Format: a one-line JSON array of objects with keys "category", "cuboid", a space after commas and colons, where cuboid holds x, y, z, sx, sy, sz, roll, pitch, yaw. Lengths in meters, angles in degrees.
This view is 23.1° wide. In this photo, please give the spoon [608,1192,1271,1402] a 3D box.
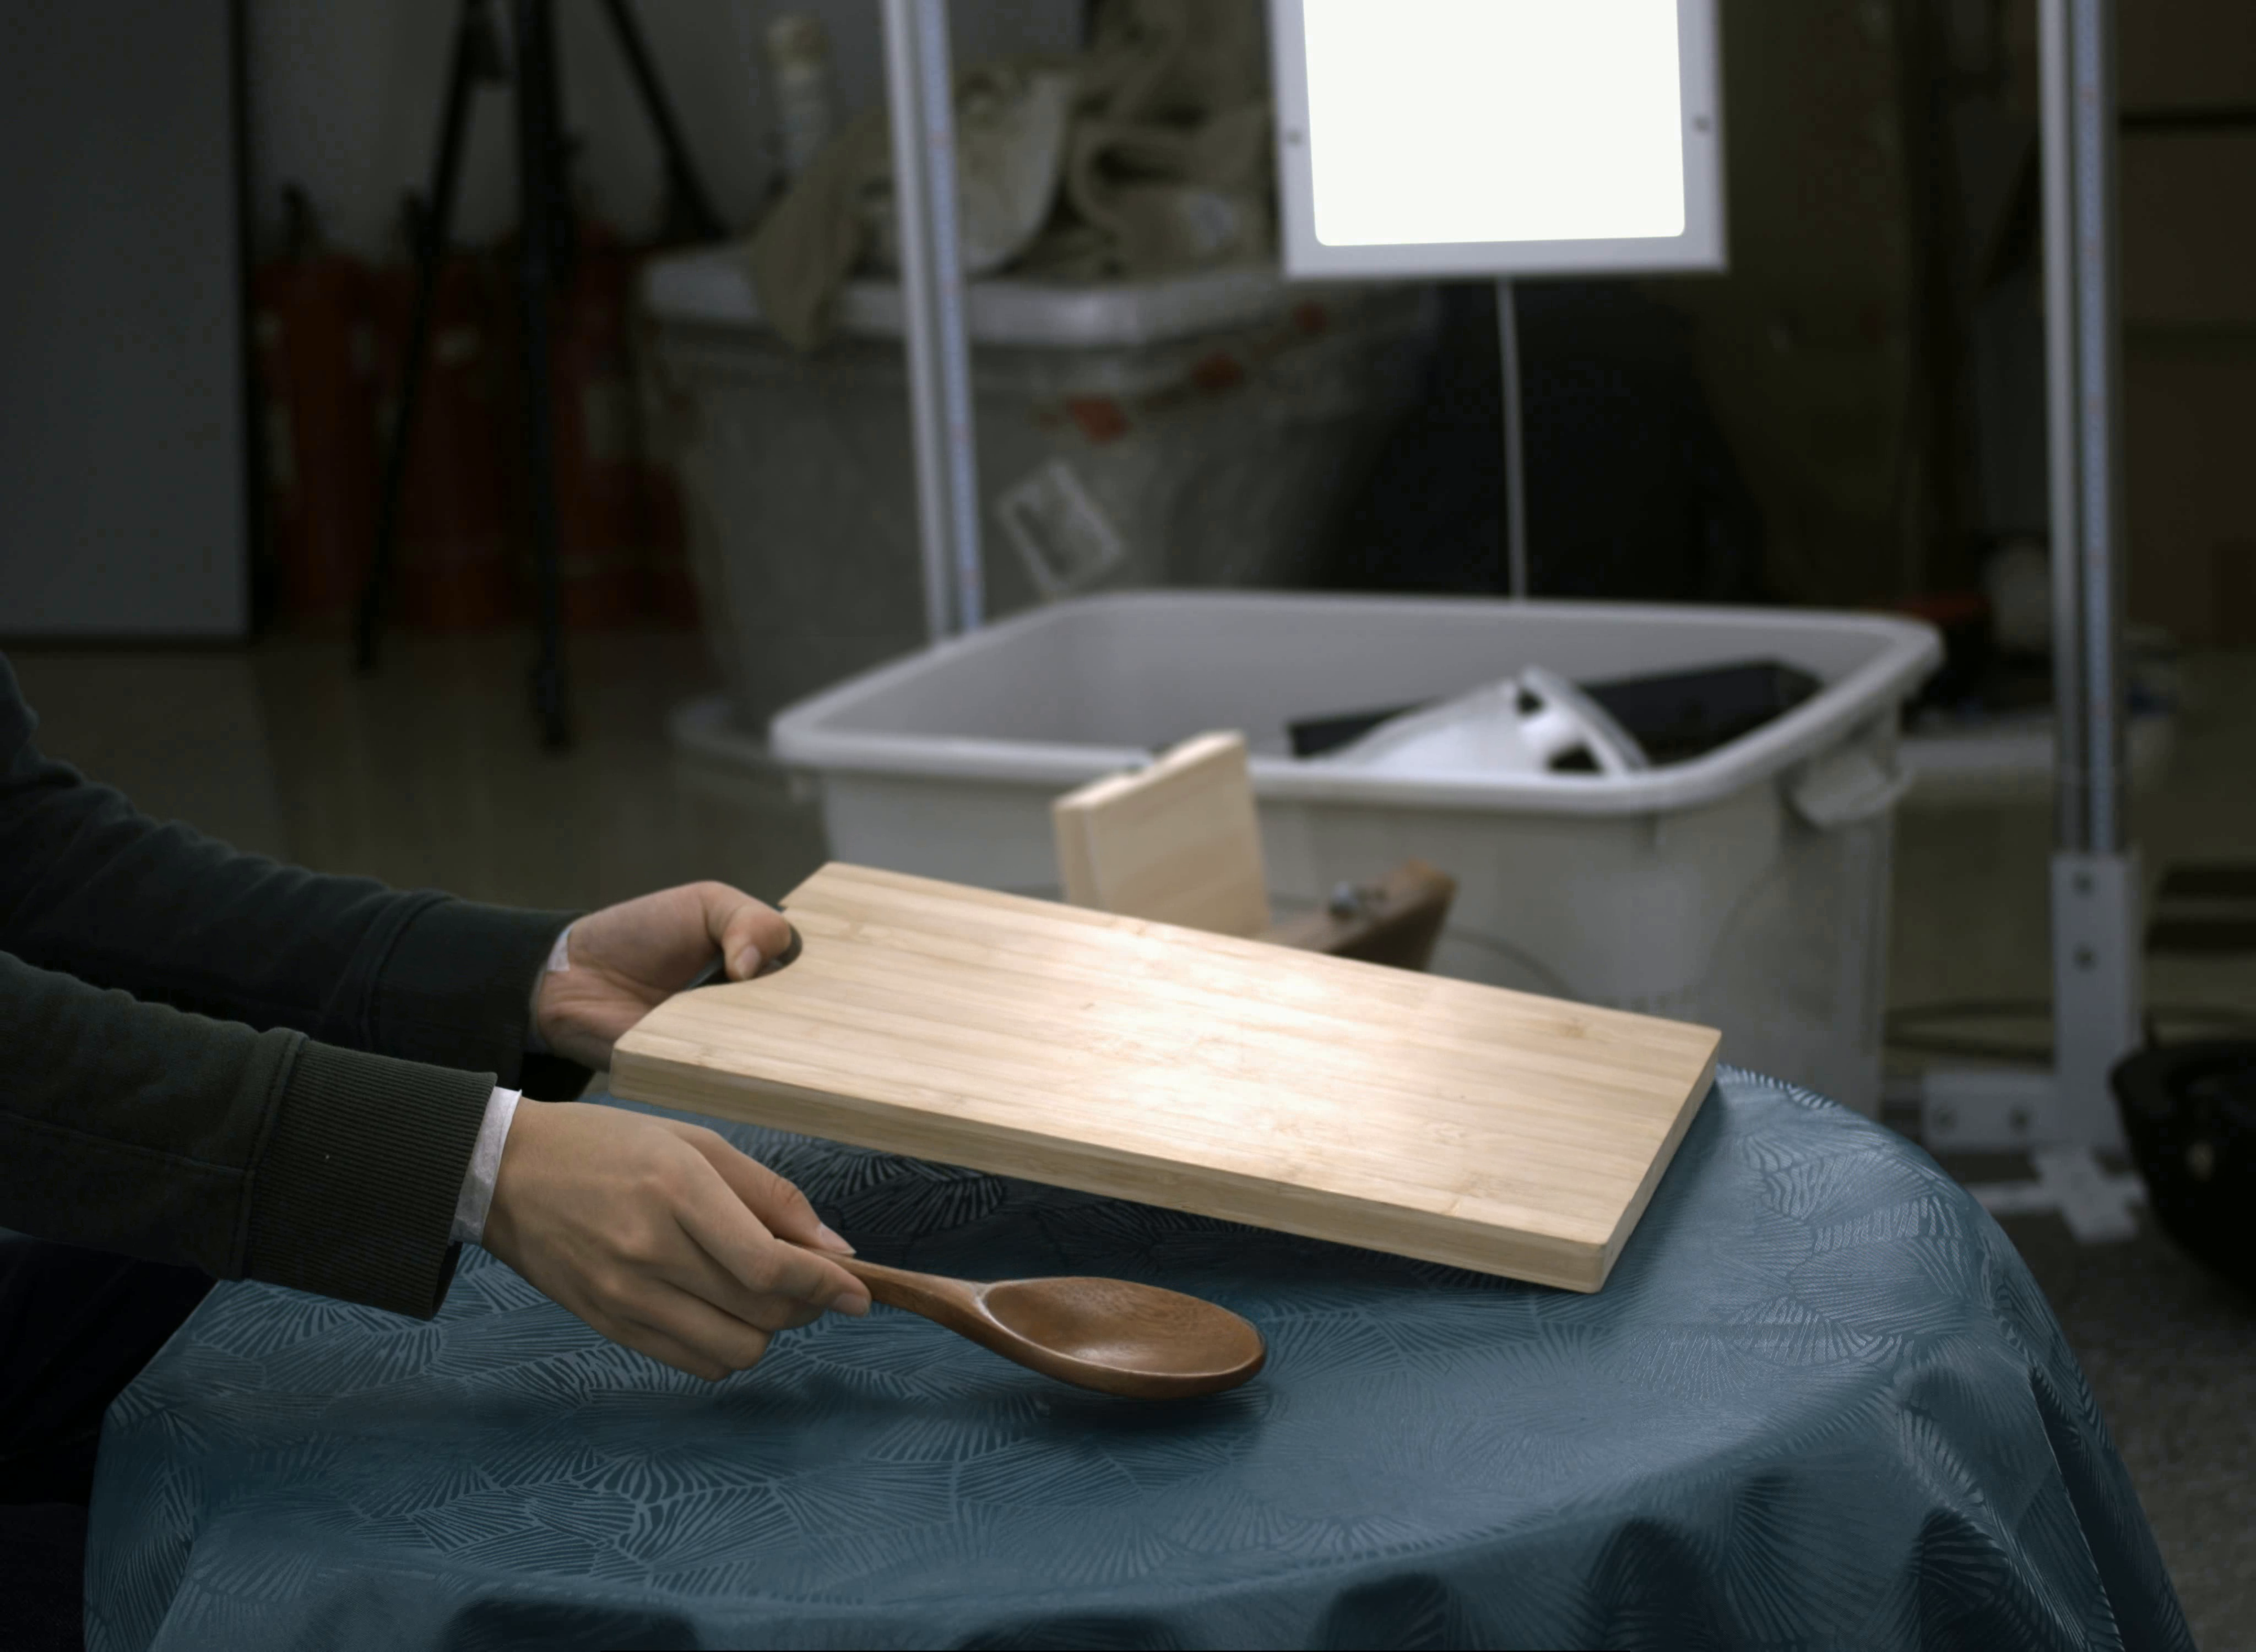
[{"category": "spoon", "cuboid": [-0.060, 0.145, 1.709, 0.218, 0.017, 0.074, 13, 20, 16]}]

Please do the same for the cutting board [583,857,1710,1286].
[{"category": "cutting board", "cuboid": [0.013, 0.080, 1.903, 0.351, 0.024, 0.247, 10, 17, 13]}]
